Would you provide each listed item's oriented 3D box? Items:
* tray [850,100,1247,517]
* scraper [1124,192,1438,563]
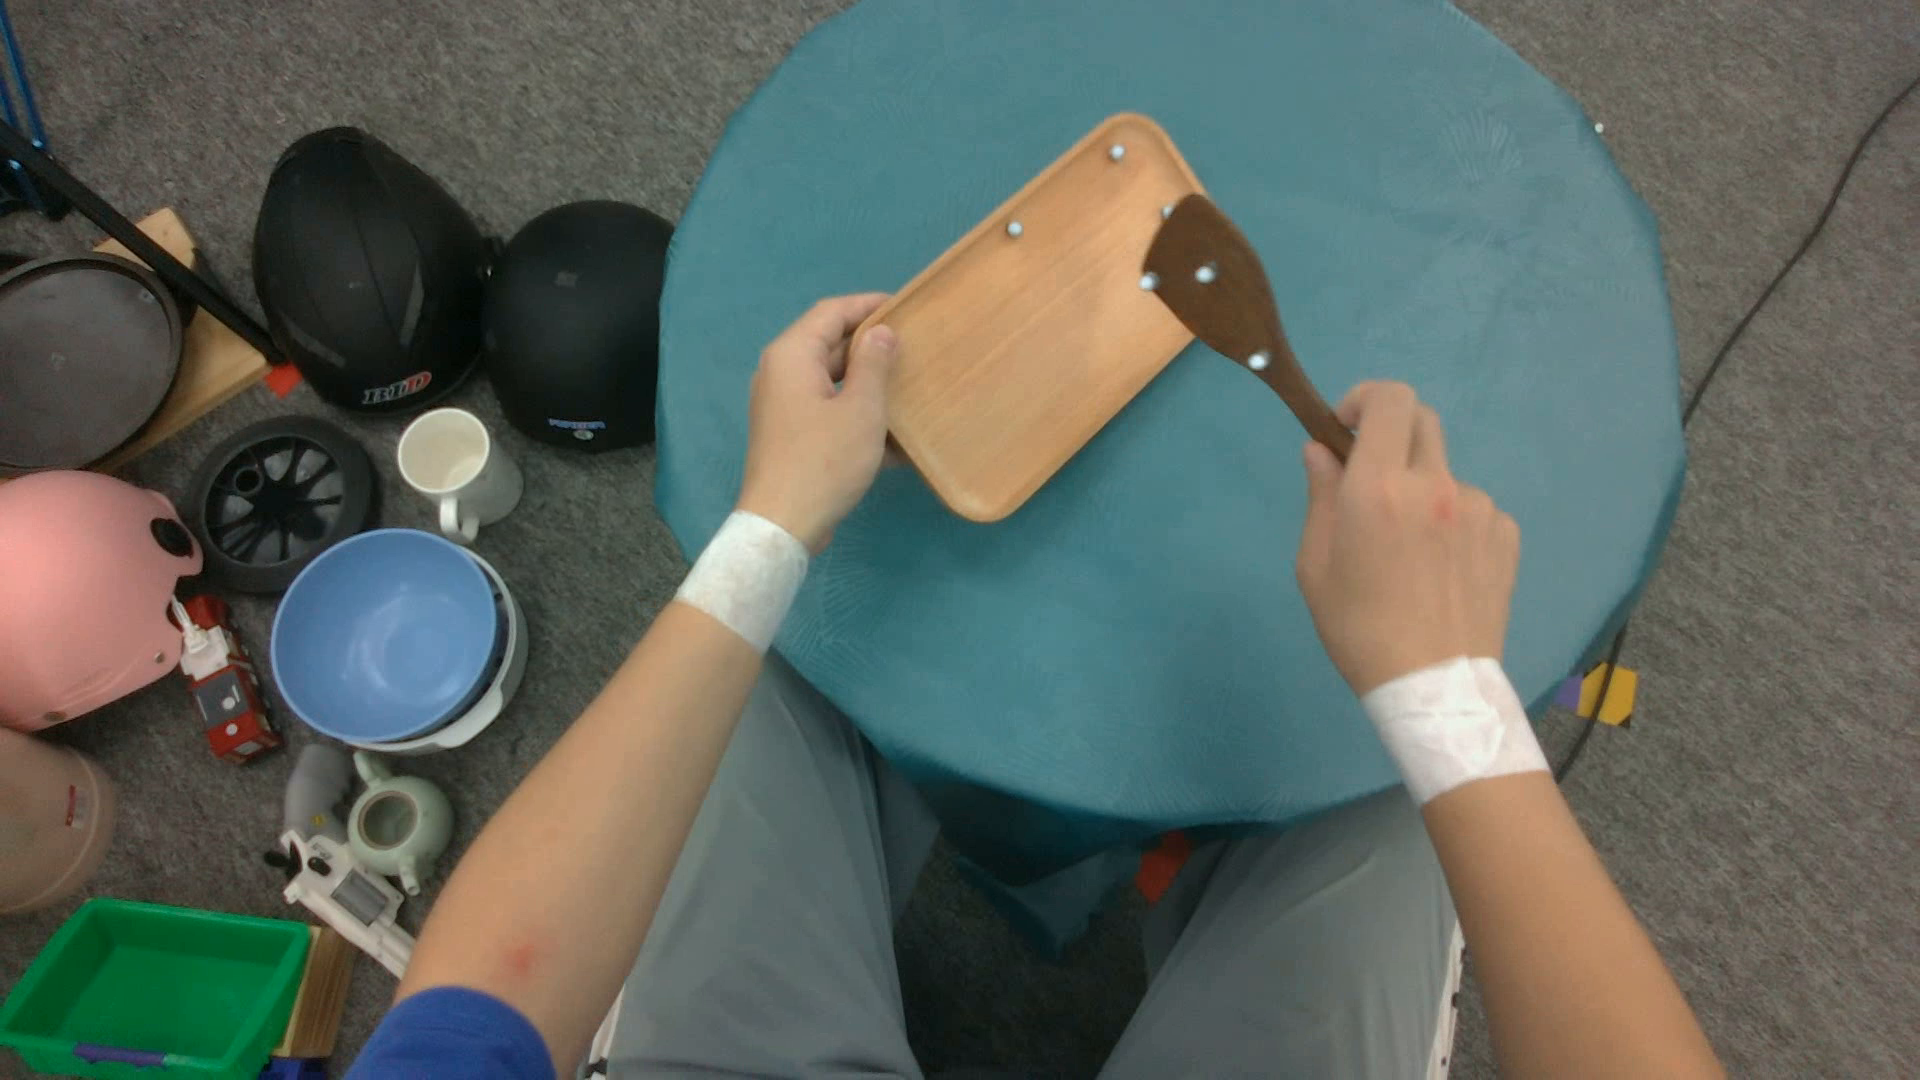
[{"bbox_3d":[0.055,-0.129,0.752,0.251,0.023,0.130,-44,101,-22],"label":"tray"},{"bbox_3d":[0.153,-0.074,0.657,0.011,0.075,0.211,-32,77,-22],"label":"scraper"}]
